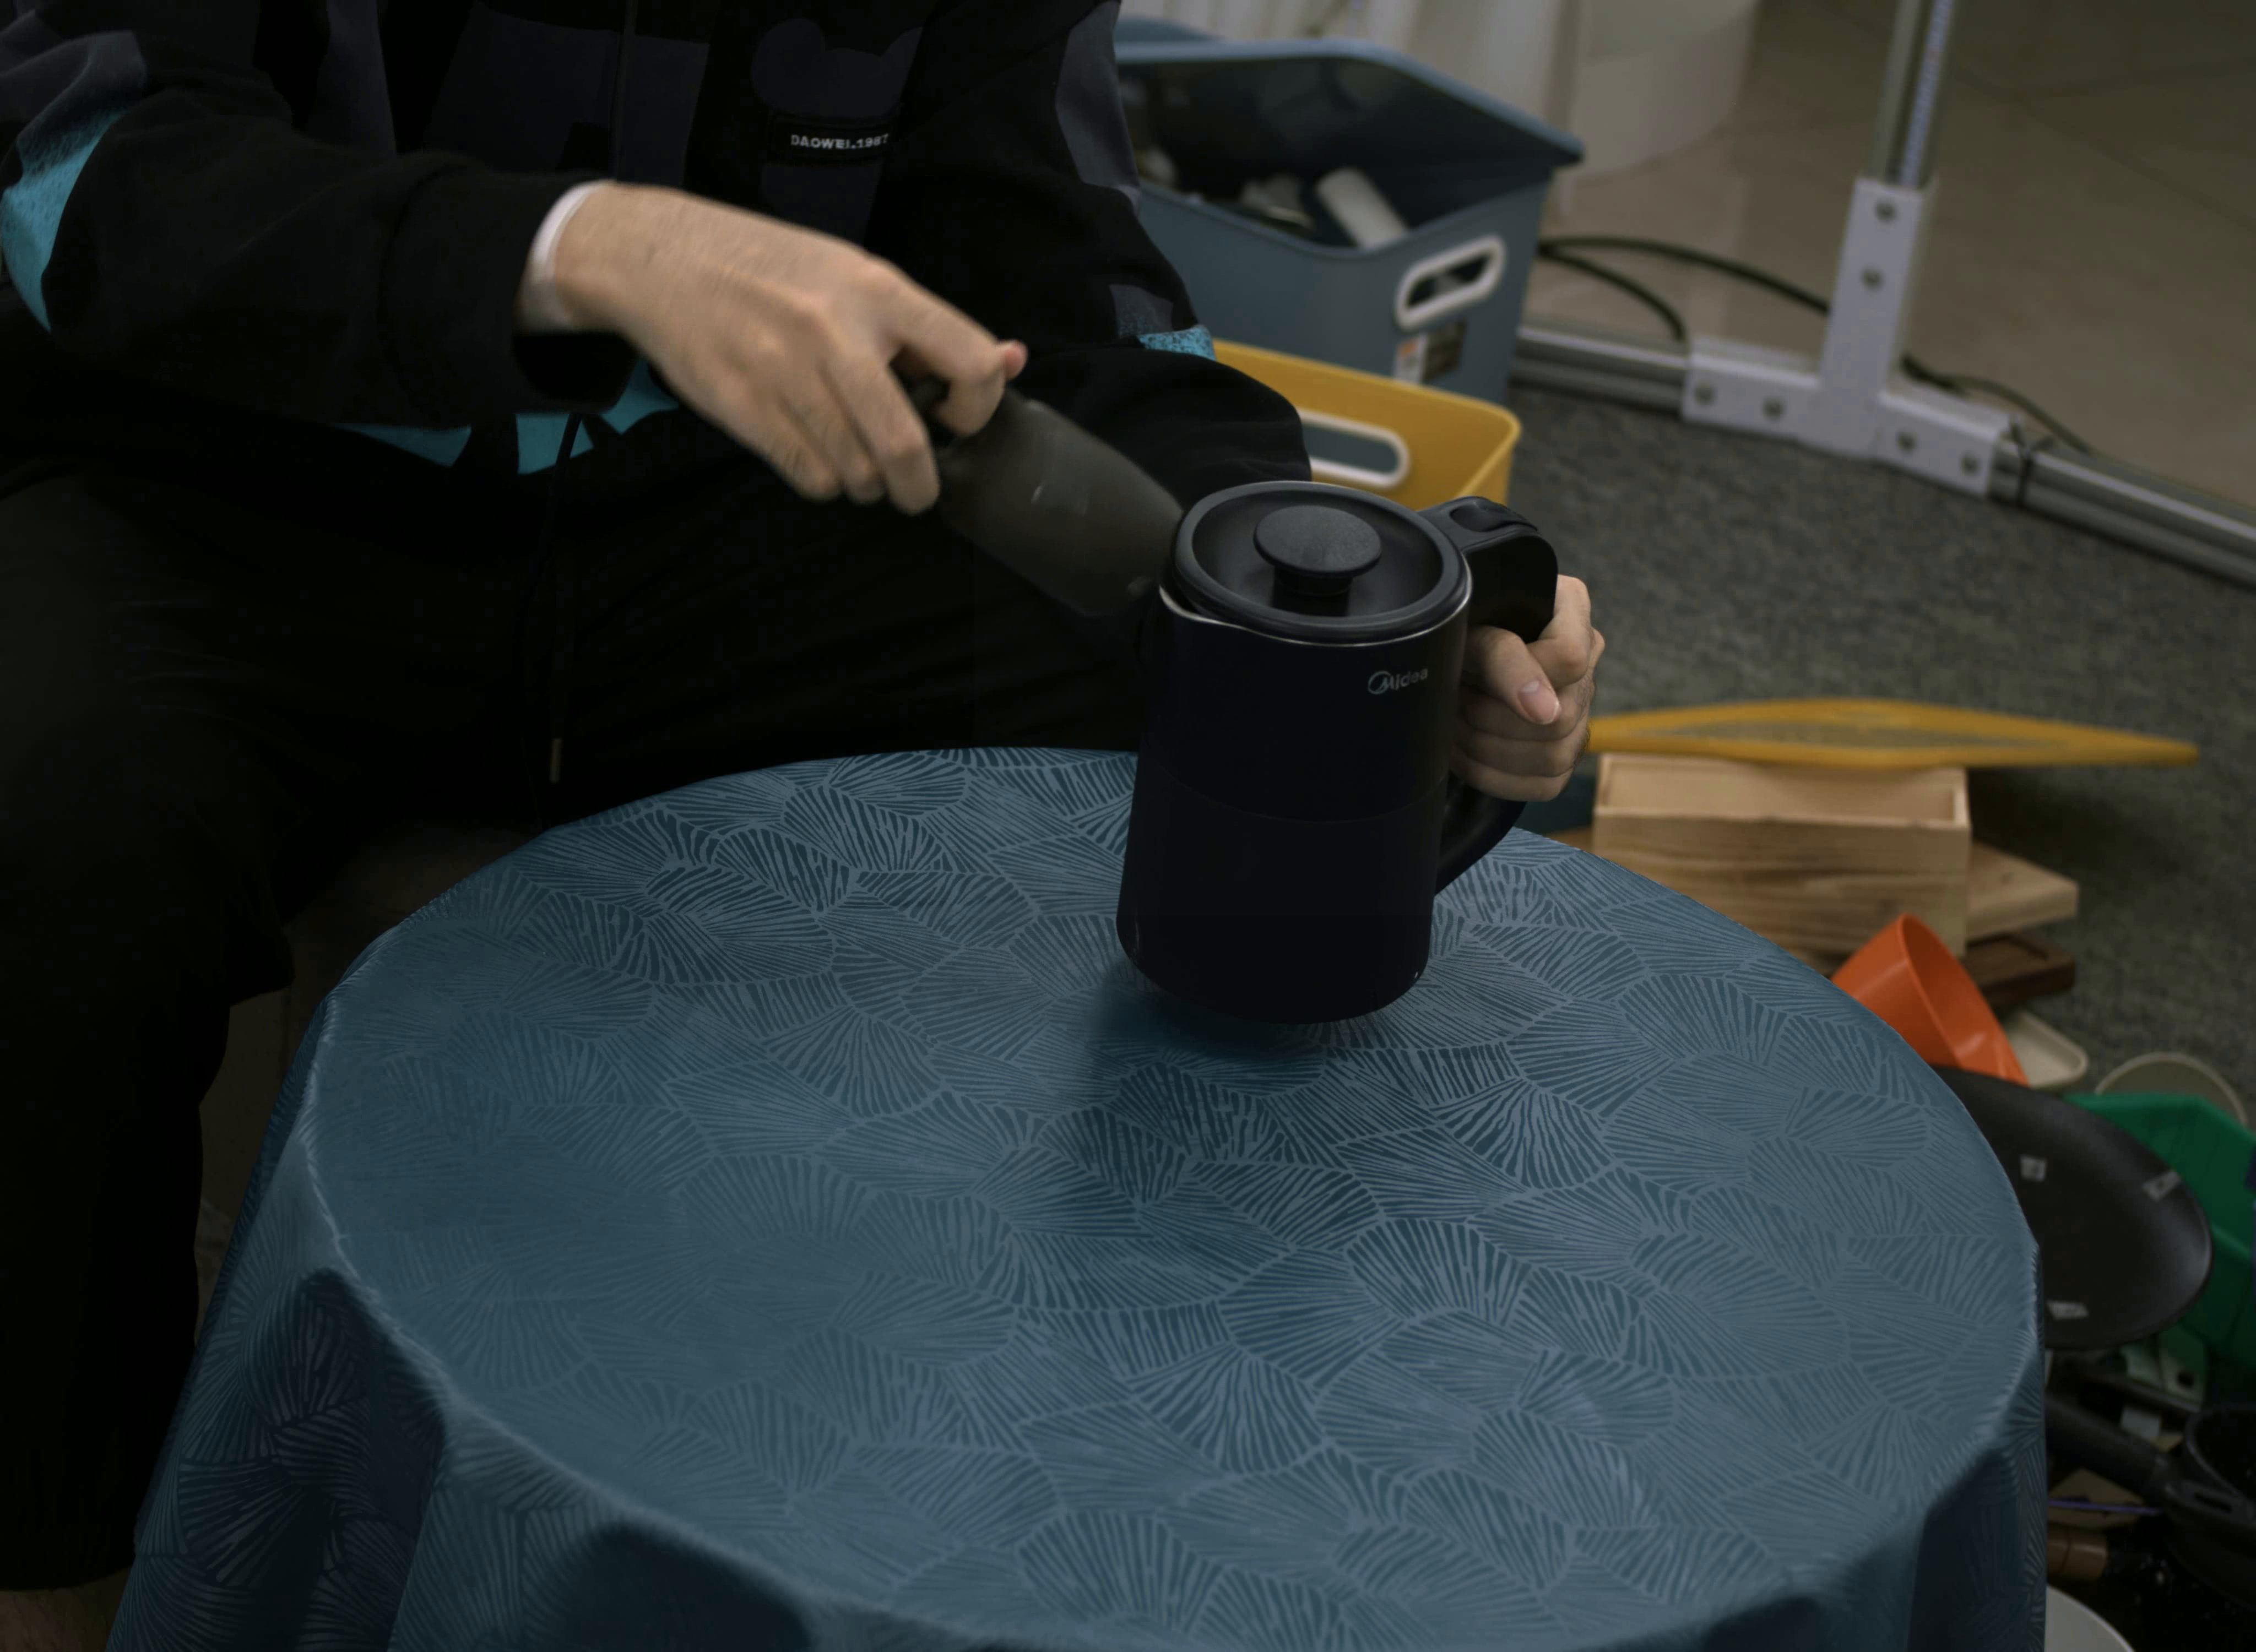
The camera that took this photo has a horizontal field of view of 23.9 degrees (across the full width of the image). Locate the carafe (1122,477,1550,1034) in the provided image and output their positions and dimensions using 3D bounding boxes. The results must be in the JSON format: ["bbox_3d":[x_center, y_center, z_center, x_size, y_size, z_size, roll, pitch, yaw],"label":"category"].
[{"bbox_3d":[0.076,-0.037,1.890,0.171,0.172,0.115,-20,38,-32],"label":"carafe"}]

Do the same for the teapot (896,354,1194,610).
[{"bbox_3d":[-0.030,-0.115,1.768,0.113,0.053,0.083,39,-3,-25],"label":"teapot"}]
